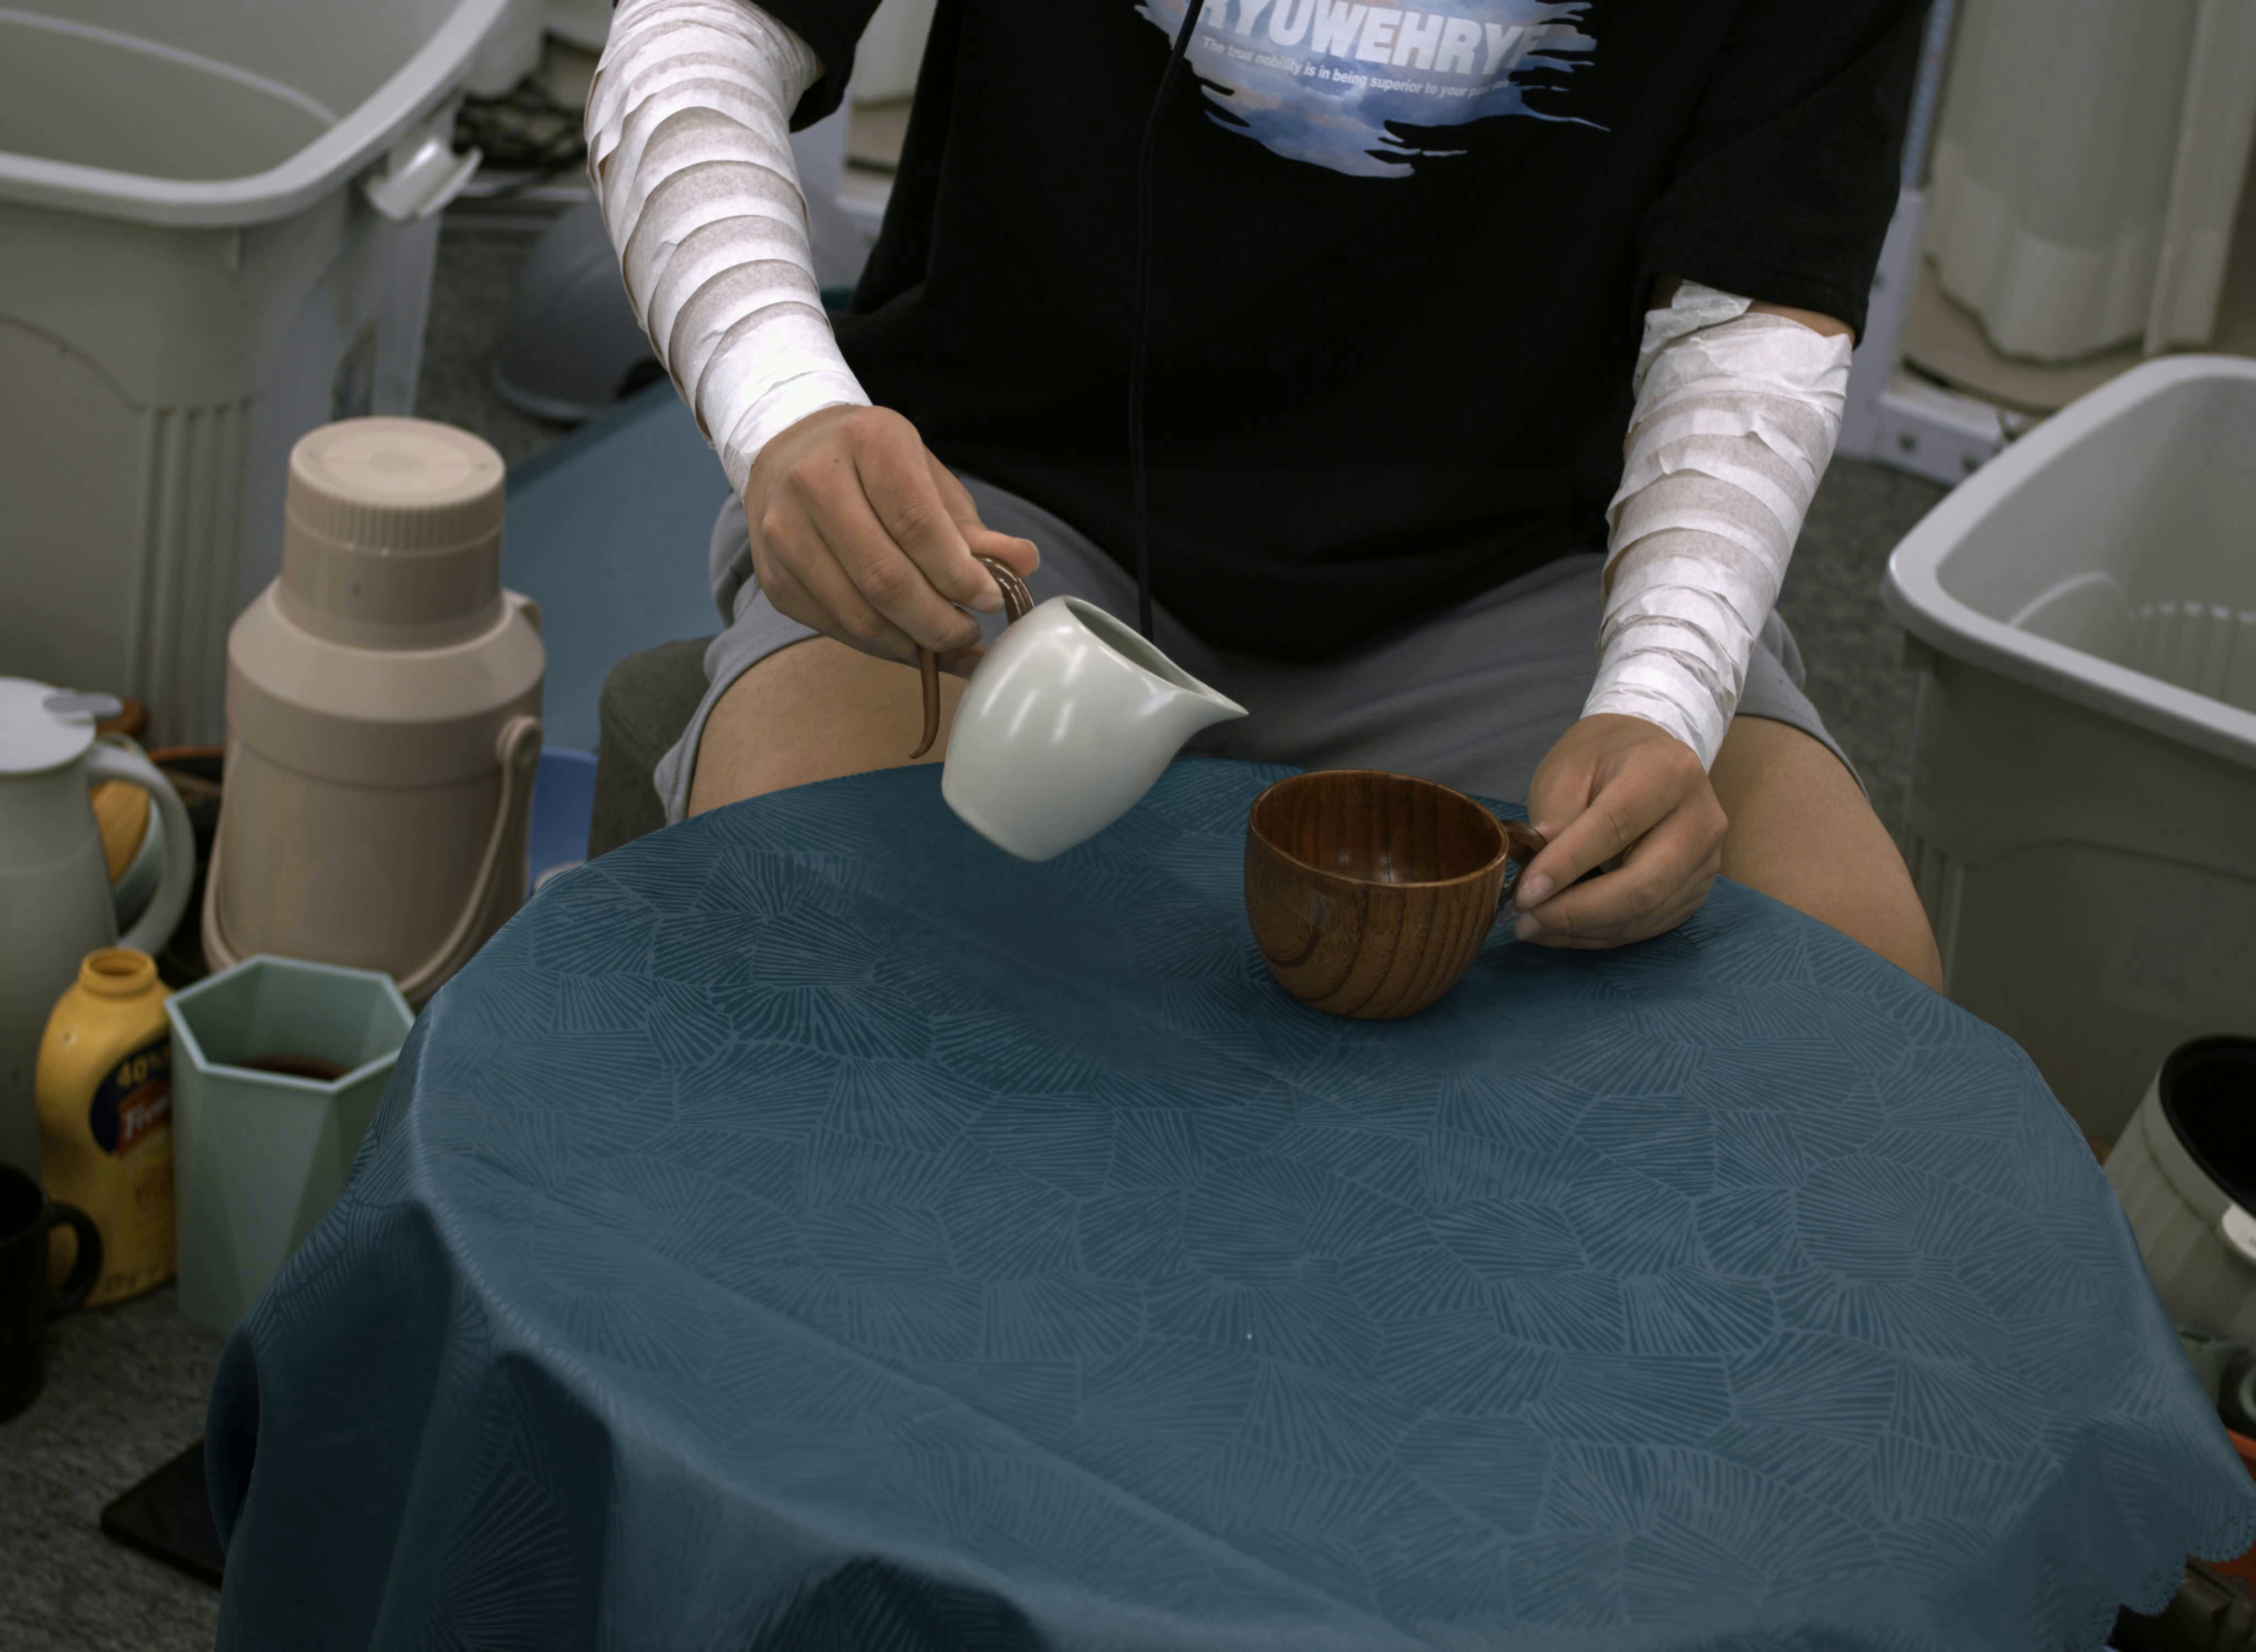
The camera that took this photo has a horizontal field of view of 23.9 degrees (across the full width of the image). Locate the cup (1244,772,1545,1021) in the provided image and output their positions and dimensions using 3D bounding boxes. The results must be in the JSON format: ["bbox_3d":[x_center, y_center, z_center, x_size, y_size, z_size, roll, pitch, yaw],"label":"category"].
[{"bbox_3d":[0.099,0.028,1.944,0.118,0.067,0.097,-4,25,-24],"label":"cup"}]

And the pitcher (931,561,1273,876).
[{"bbox_3d":[-0.022,-0.034,1.883,0.119,0.088,0.076,40,9,3],"label":"pitcher"}]
